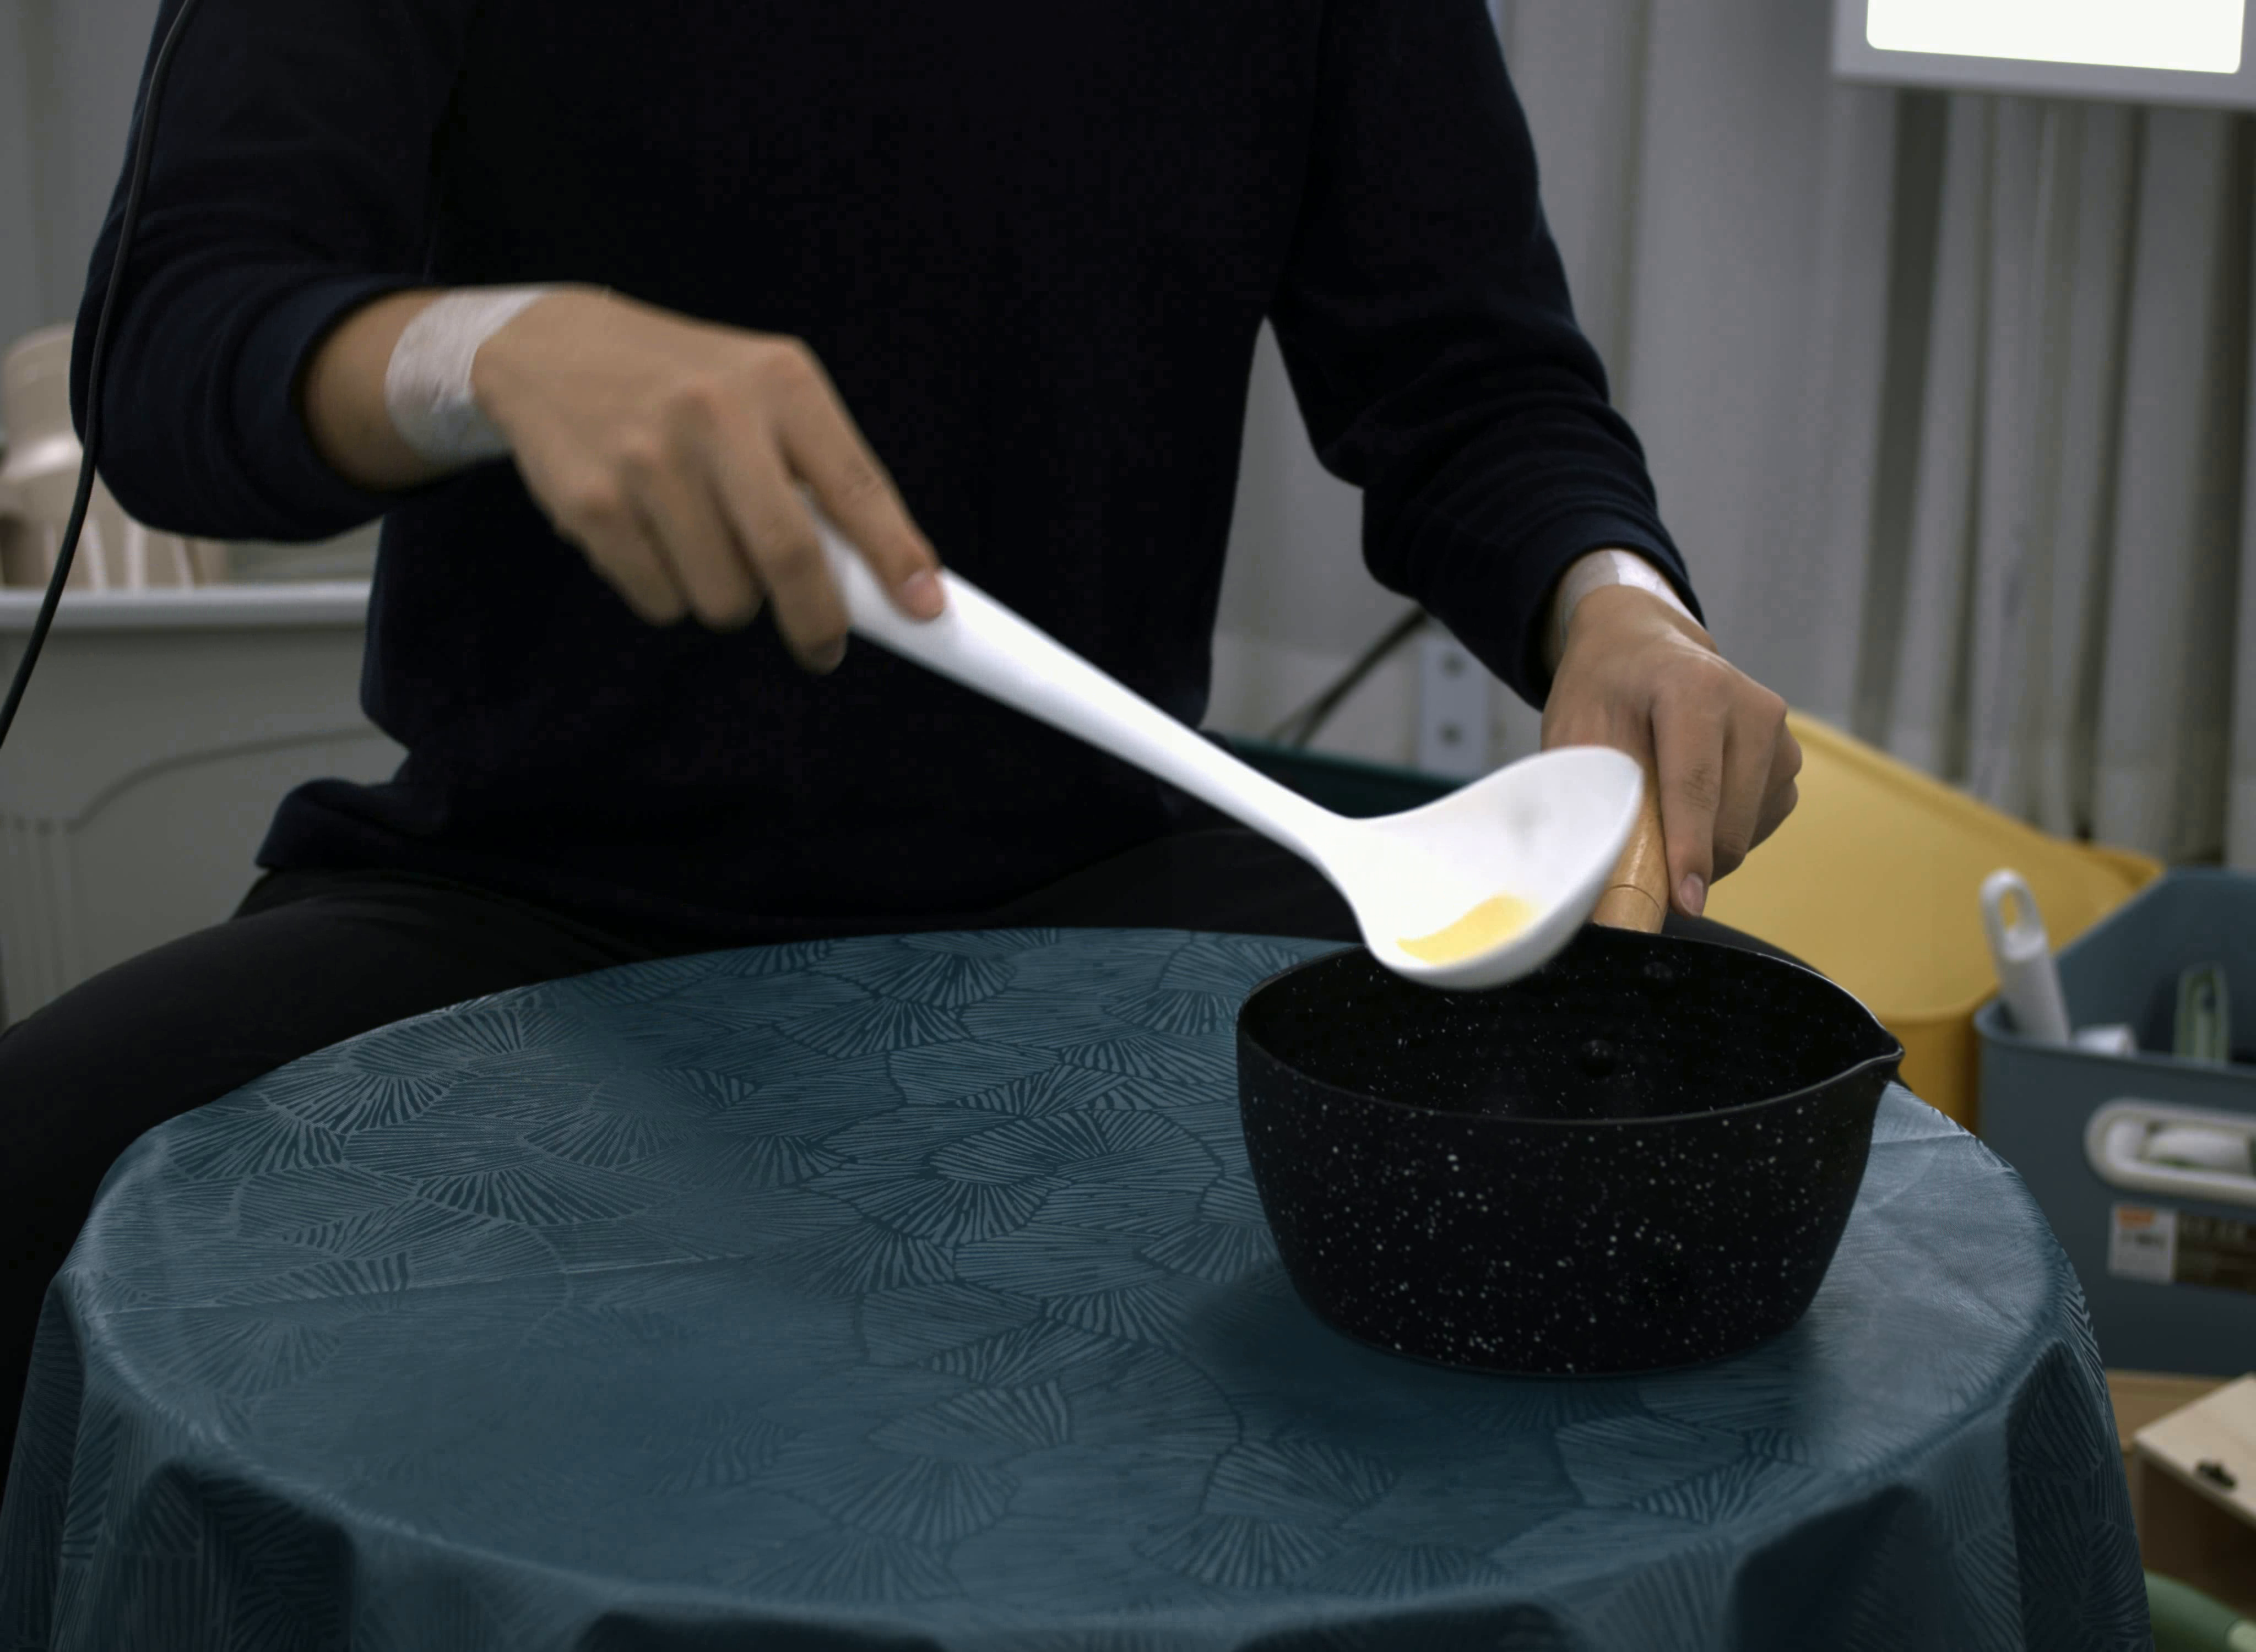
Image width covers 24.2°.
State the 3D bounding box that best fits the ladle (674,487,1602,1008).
[{"bbox_3d":[-0.004,-0.032,1.448,0.290,0.071,0.090,27,66,20],"label":"ladle"}]

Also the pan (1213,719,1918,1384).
[{"bbox_3d":[0.140,0.063,1.602,0.206,0.109,0.342,2,17,11],"label":"pan"}]
